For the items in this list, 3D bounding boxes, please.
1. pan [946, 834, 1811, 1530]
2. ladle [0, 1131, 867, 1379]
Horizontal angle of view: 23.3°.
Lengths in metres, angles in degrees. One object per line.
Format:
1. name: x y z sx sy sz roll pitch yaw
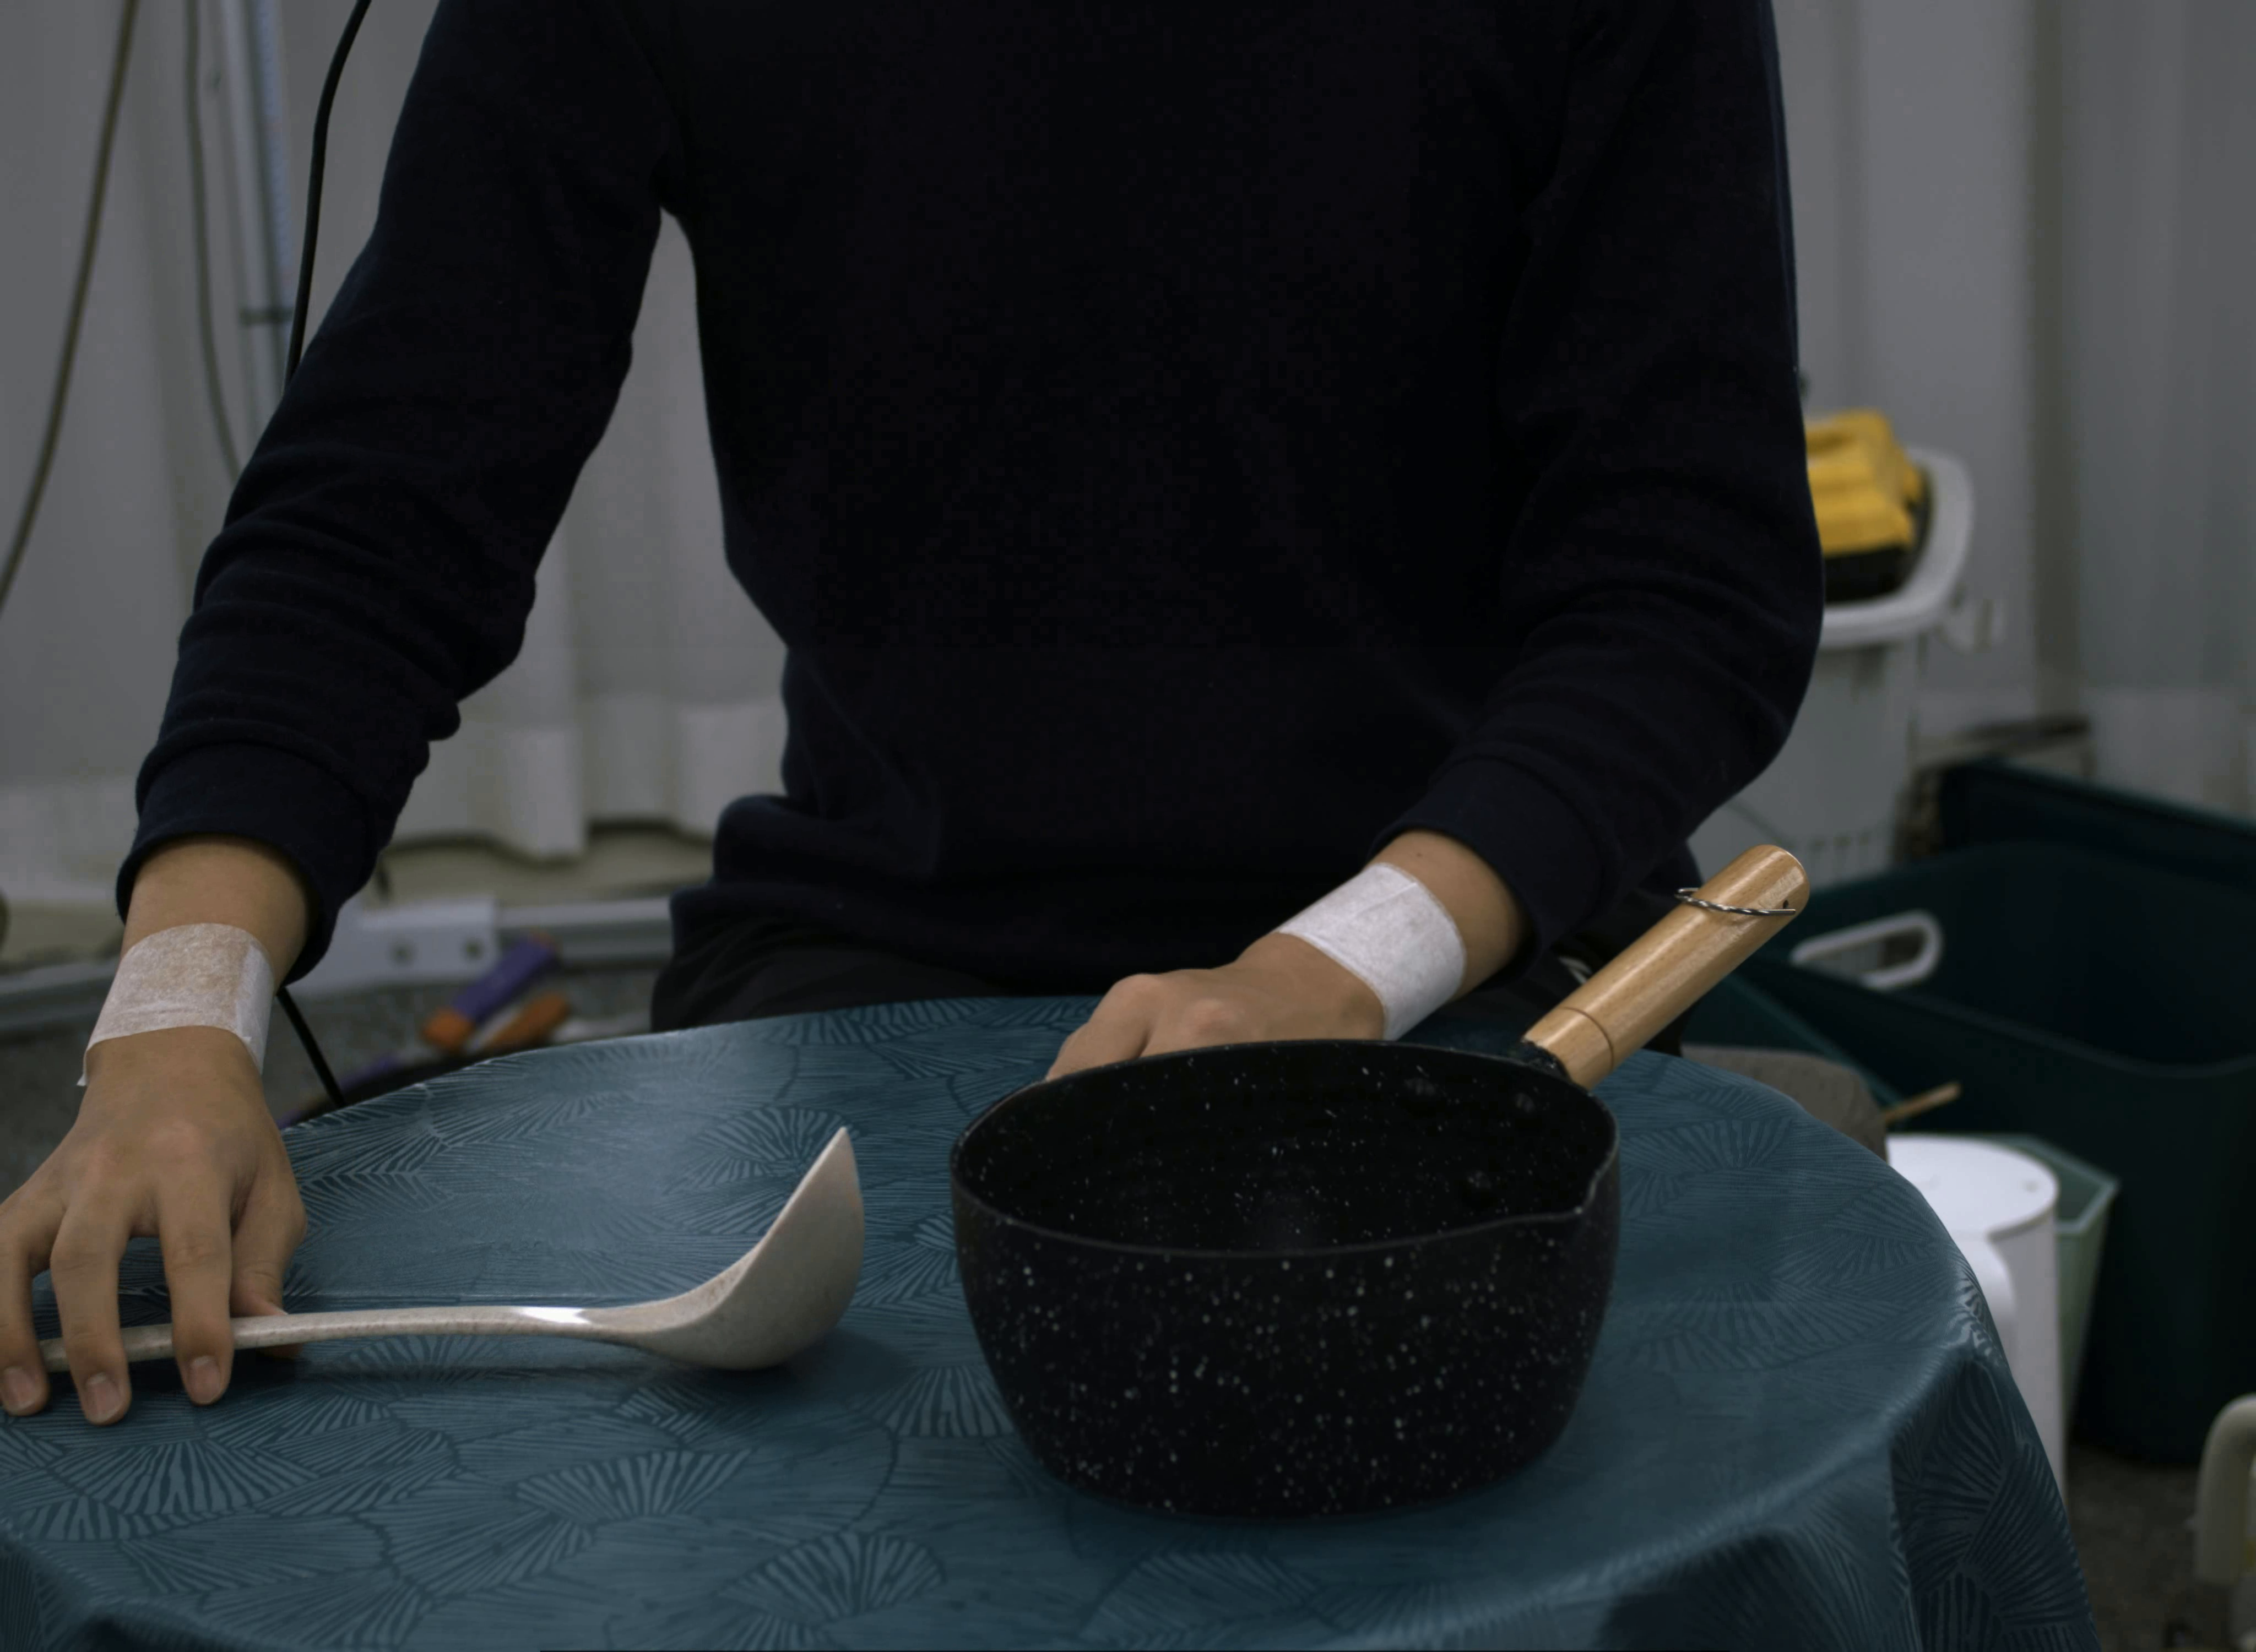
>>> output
1. pan: 0.093 0.096 1.559 0.208 0.108 0.343 8 20 38
2. ladle: -0.211 0.126 1.584 0.274 0.069 0.090 -1 13 5
